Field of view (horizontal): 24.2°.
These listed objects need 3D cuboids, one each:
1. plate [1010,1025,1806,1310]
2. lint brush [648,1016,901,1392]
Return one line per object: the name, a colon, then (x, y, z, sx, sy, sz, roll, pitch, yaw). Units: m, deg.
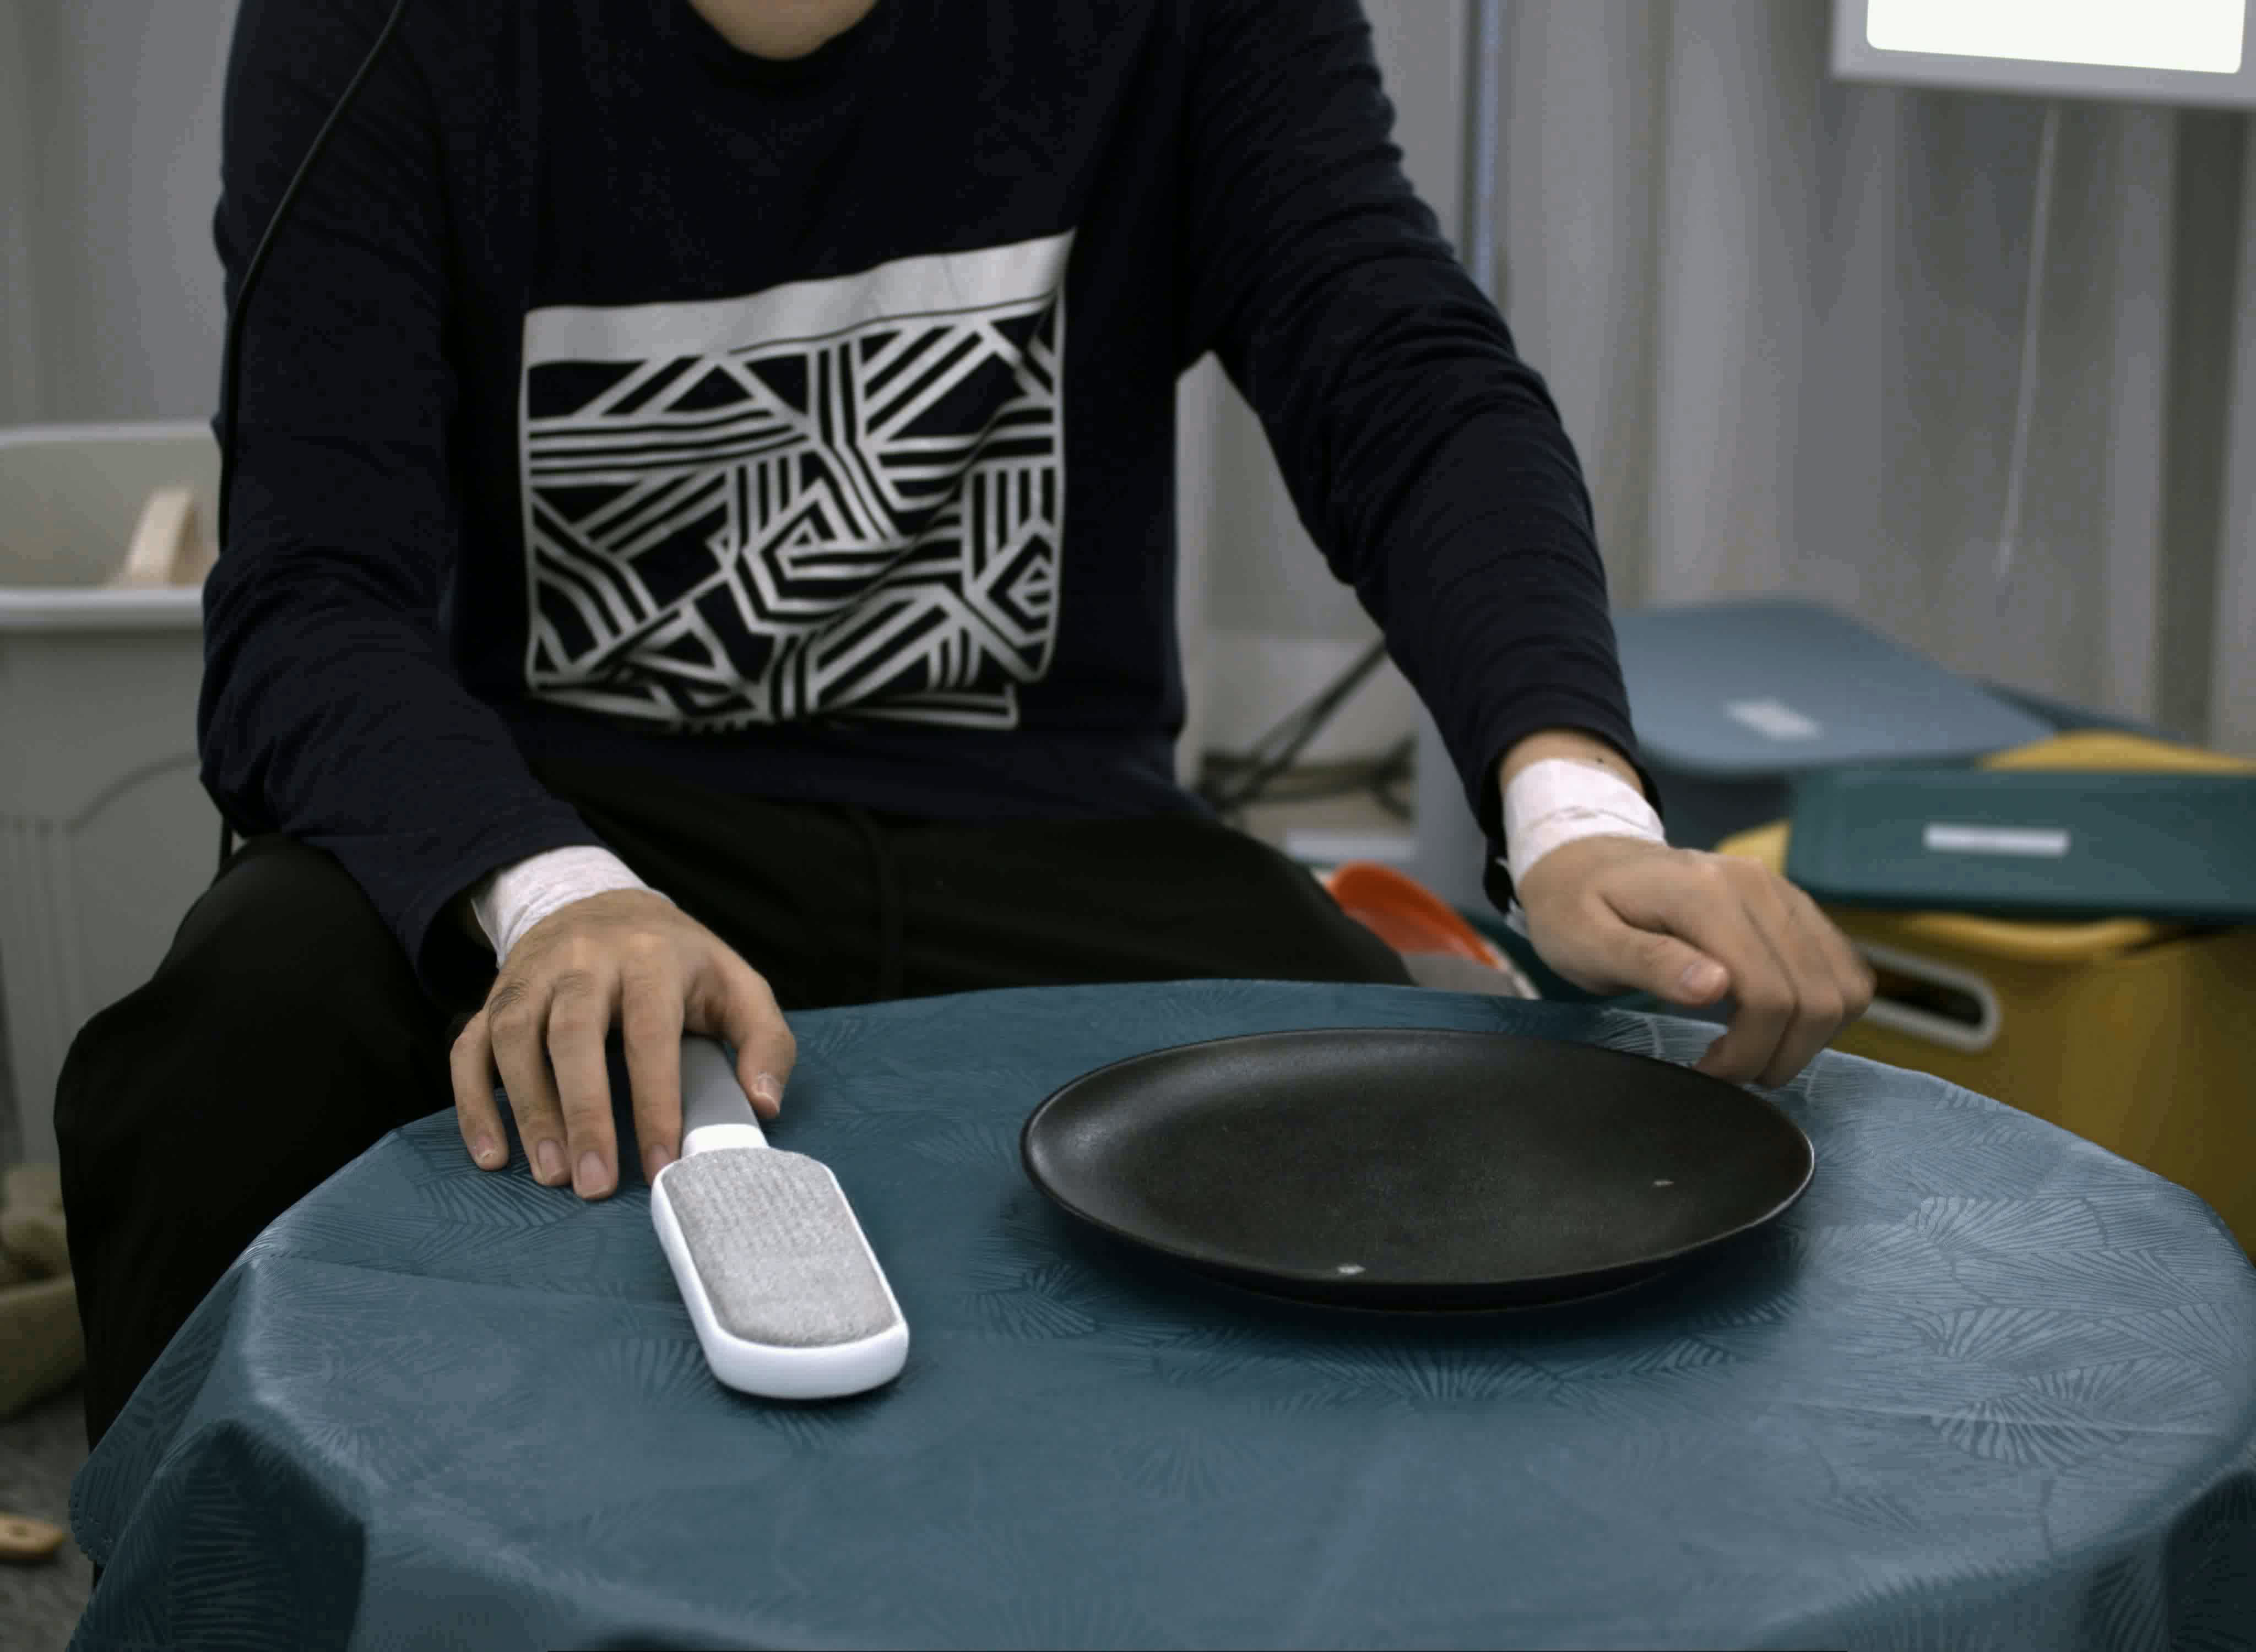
plate: (0.085, 0.106, 1.607, 0.243, 0.023, 0.243, 1, 15, 0)
lint brush: (-0.114, 0.109, 1.582, 0.060, 0.021, 0.306, -7, 16, -10)
